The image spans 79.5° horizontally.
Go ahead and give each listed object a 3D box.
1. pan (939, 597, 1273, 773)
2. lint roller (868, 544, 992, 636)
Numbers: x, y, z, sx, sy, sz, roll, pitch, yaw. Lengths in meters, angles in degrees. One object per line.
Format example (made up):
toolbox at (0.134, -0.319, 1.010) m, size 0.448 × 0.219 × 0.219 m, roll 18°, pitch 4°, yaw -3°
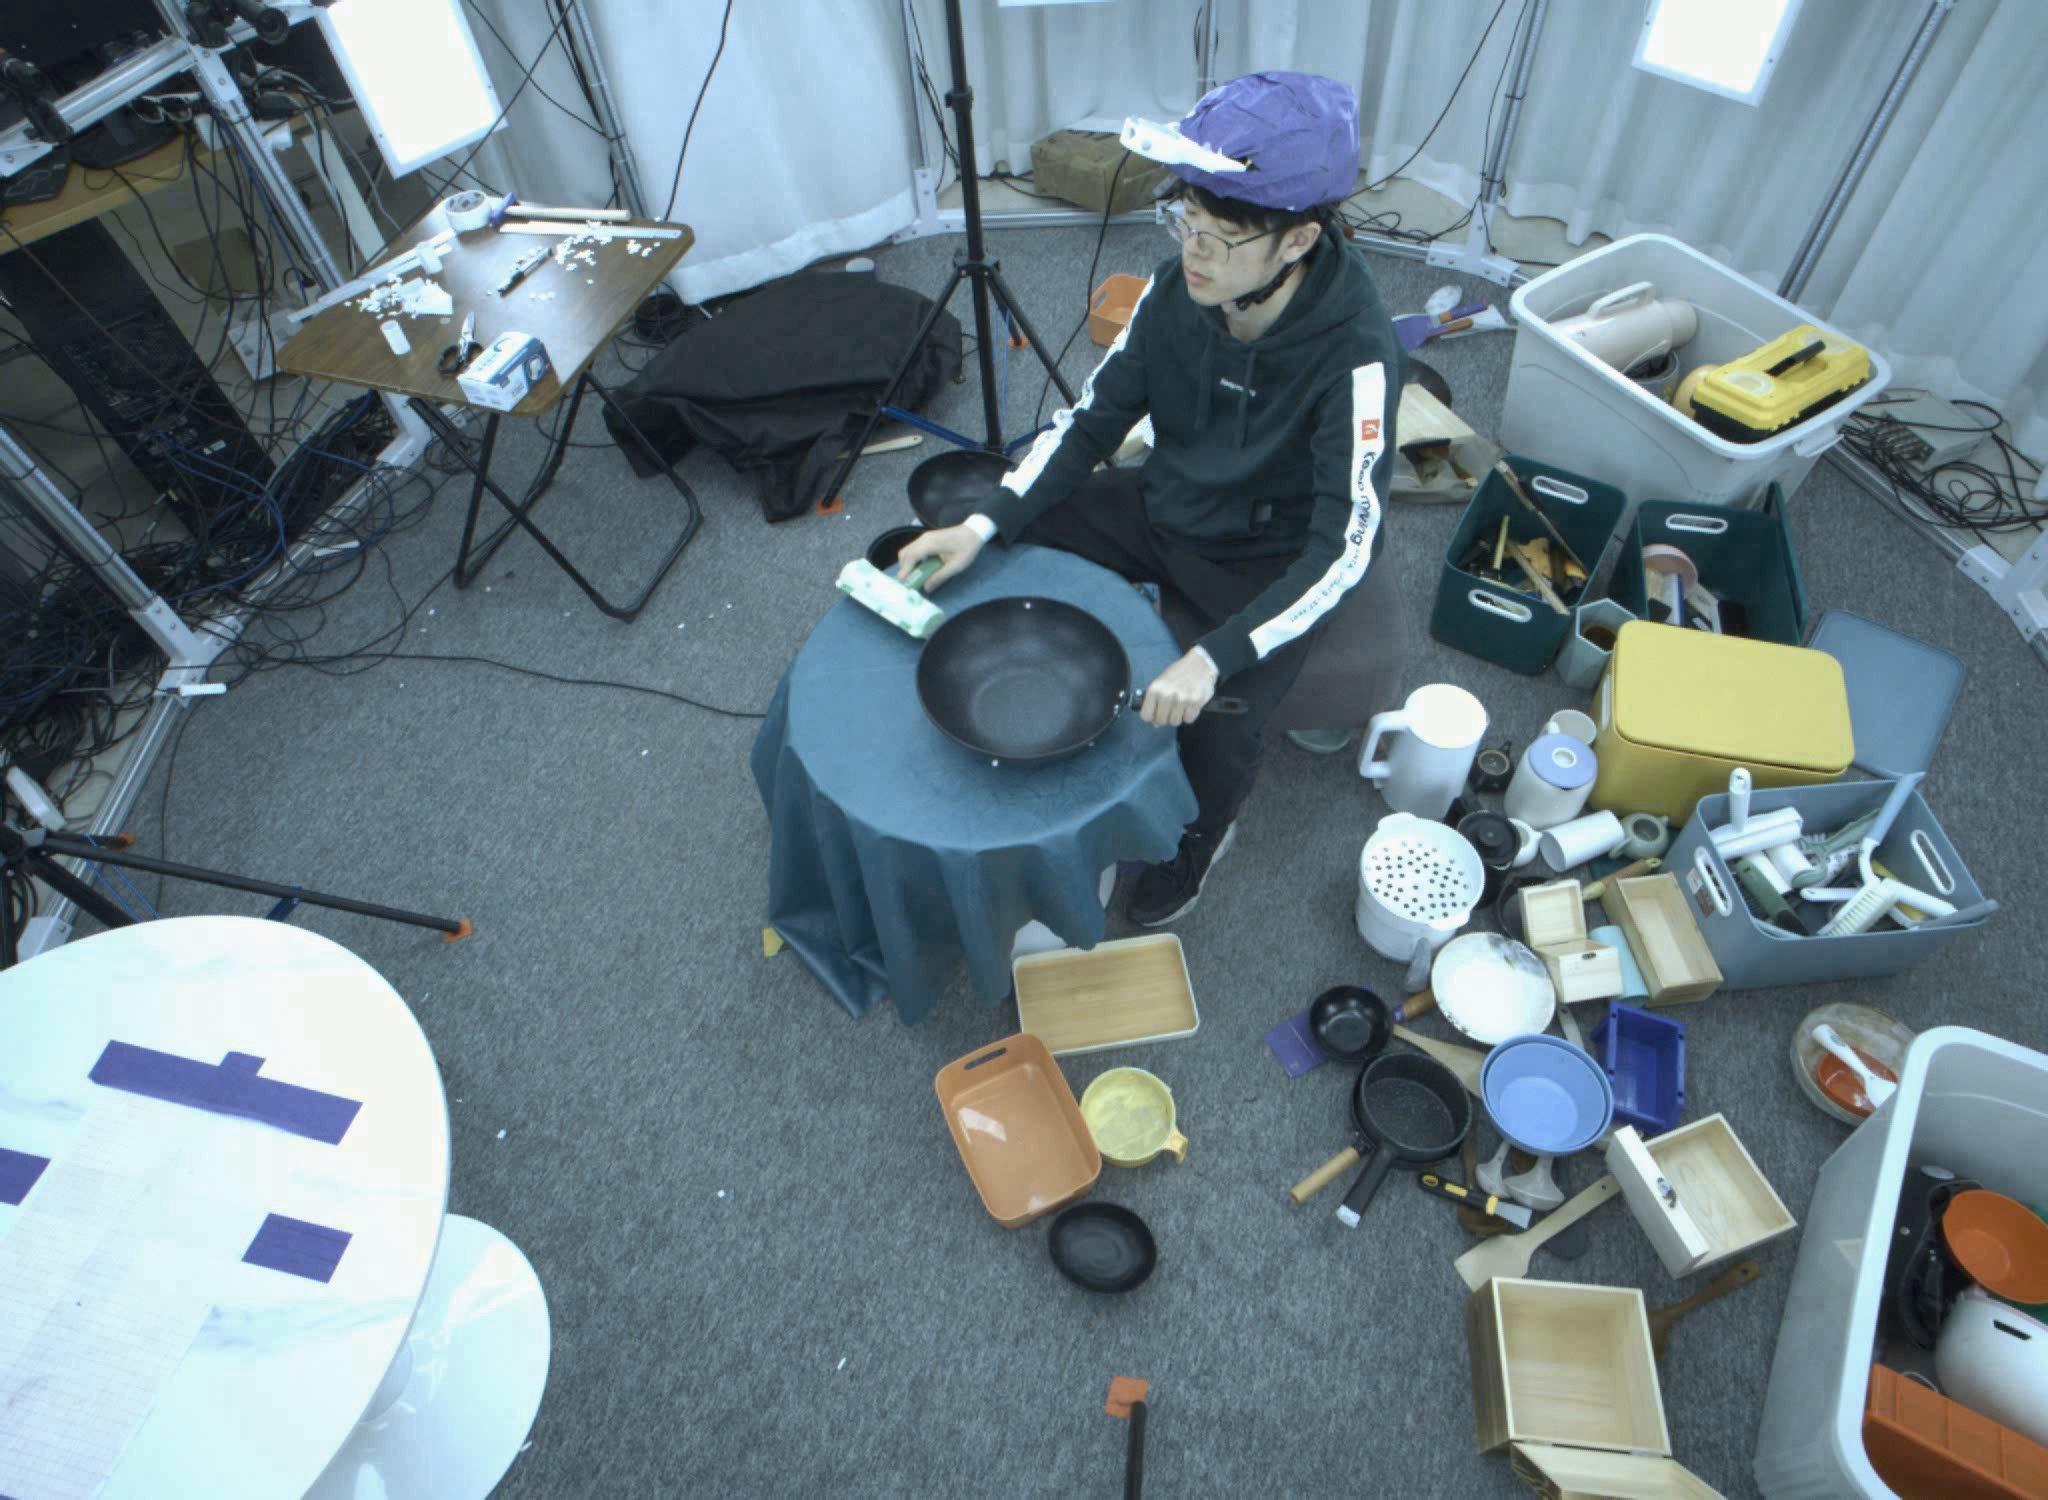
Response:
pan at (0.114, -0.068, 1.761) m, size 0.474 × 0.113 × 0.309 m, roll 14°, pitch 56°, yaw 9°
lint roller at (-0.125, -0.282, 1.926) m, size 0.194 × 0.083 × 0.184 m, roll 35°, pitch 72°, yaw 30°
